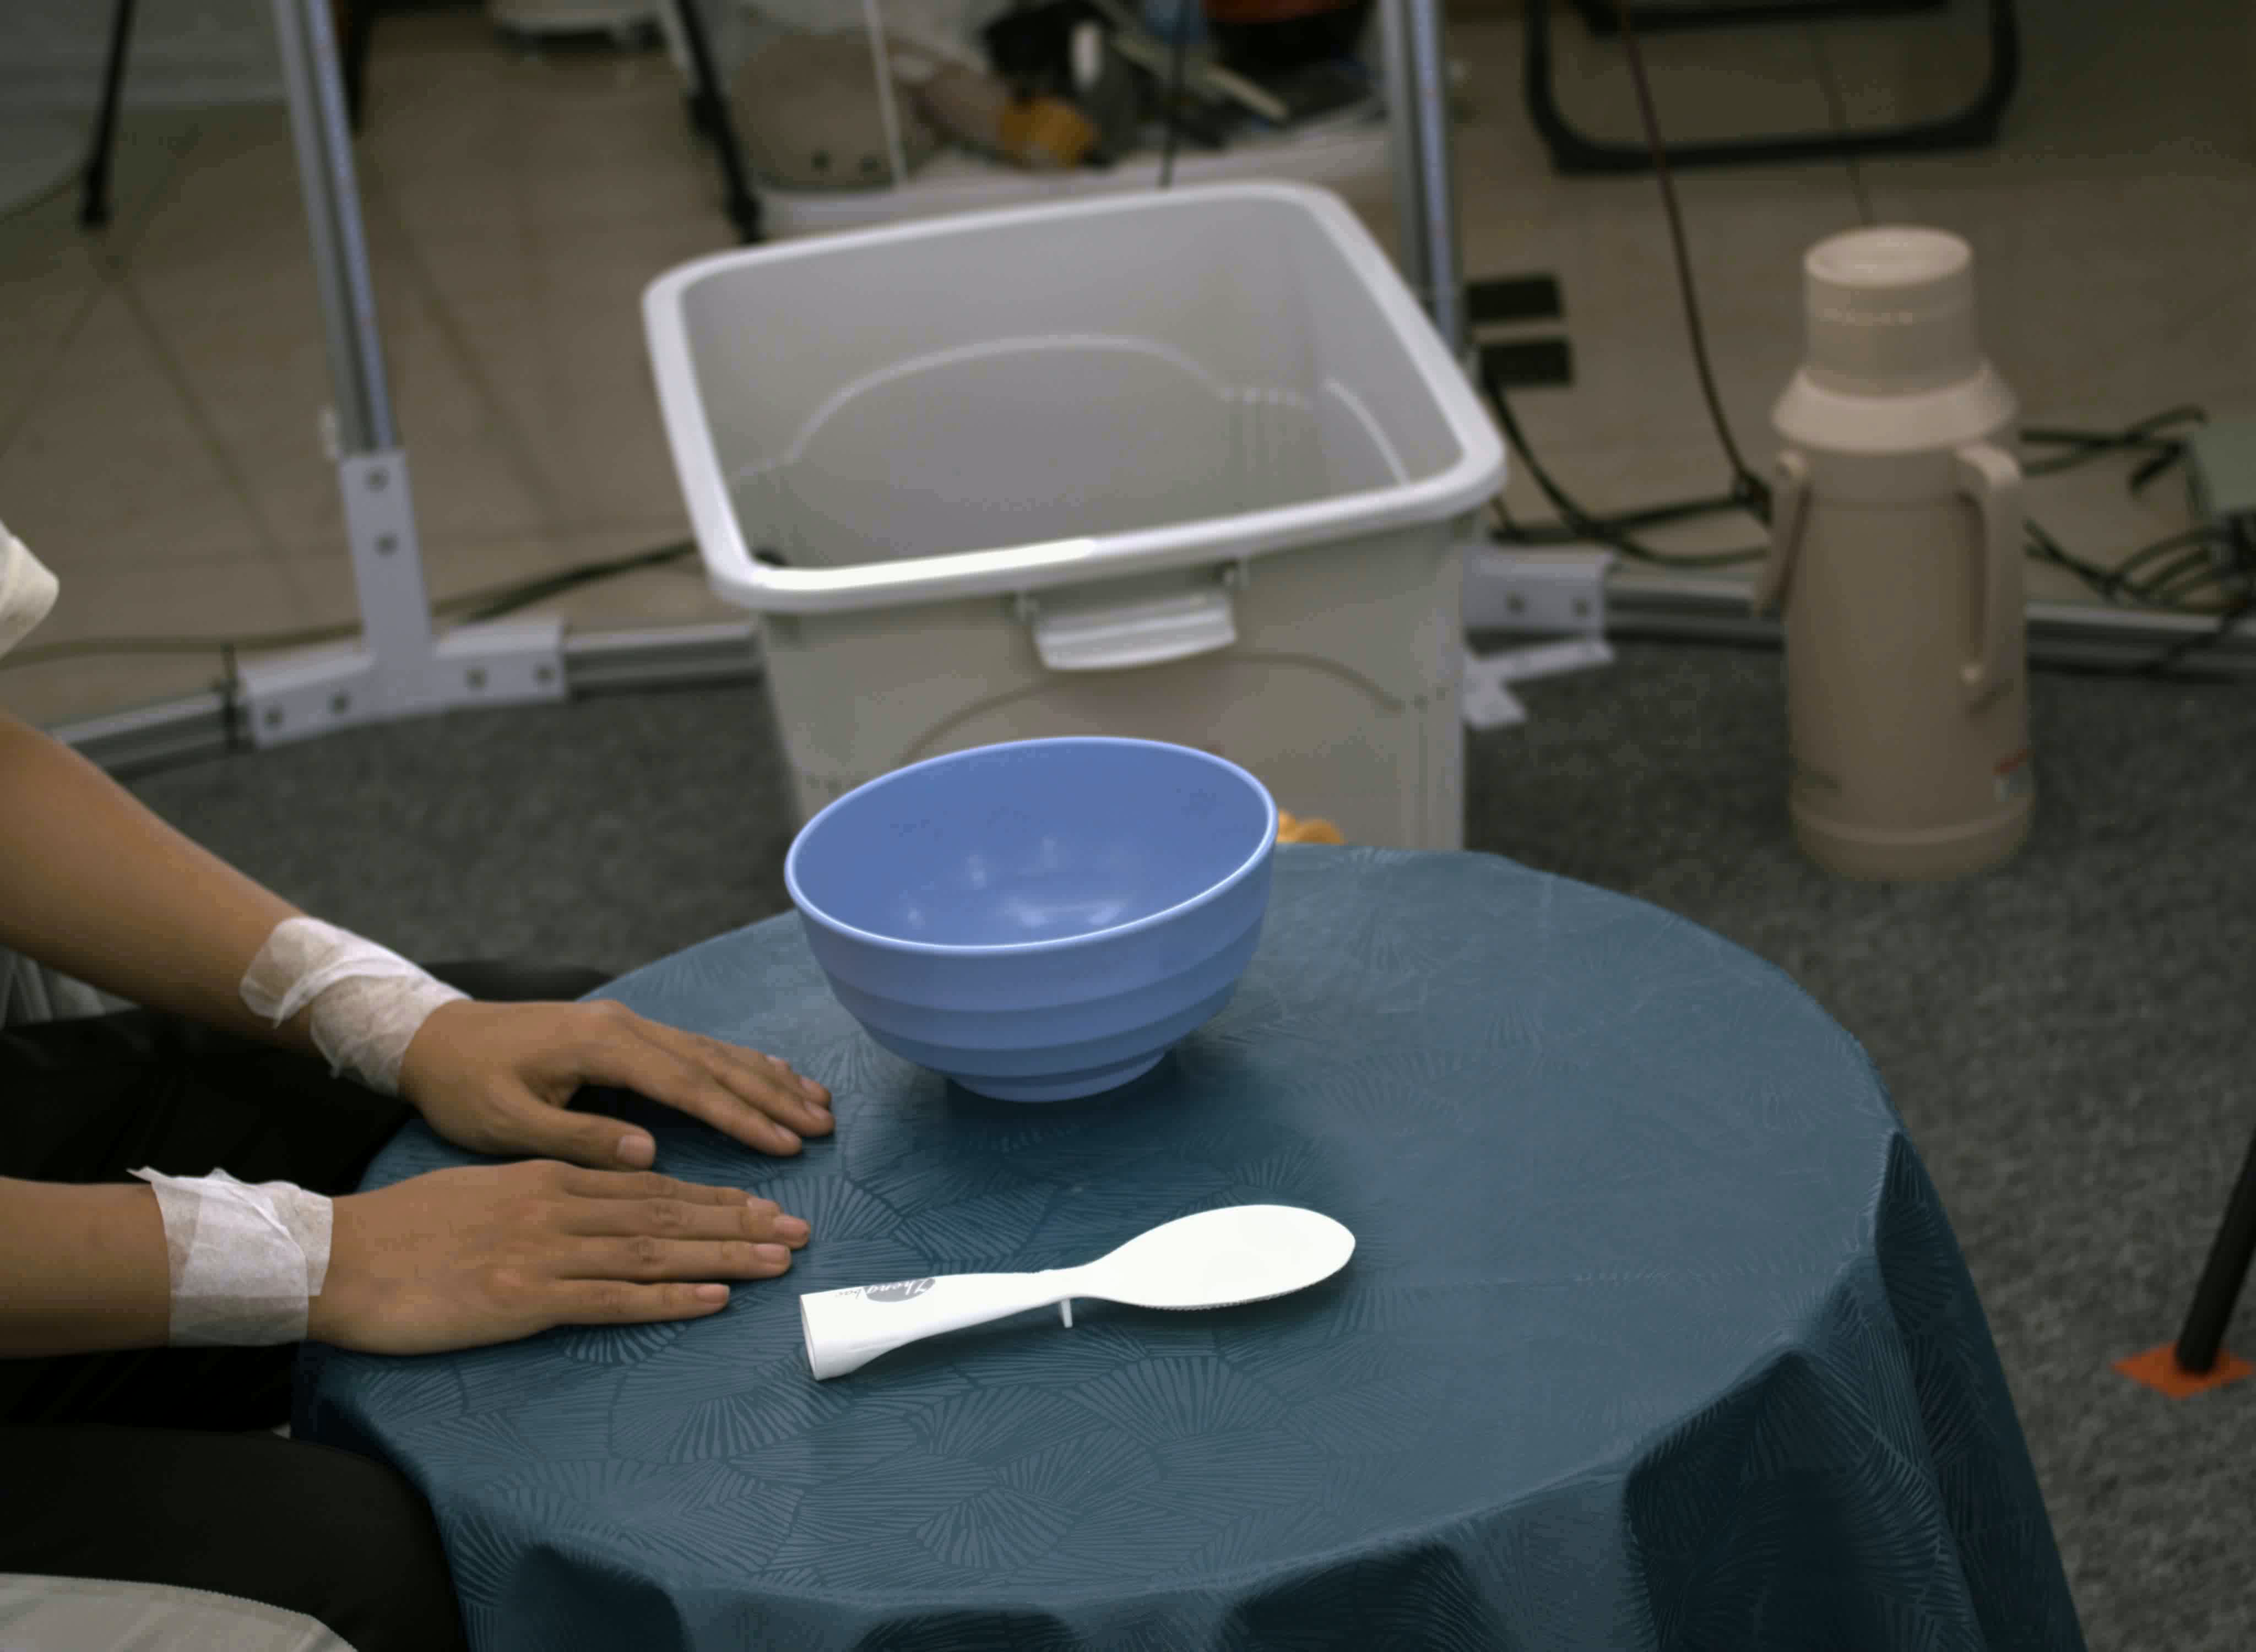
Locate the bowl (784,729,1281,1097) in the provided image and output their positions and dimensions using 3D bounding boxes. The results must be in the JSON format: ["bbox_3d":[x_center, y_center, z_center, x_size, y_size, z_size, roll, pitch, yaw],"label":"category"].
[{"bbox_3d":[-0.034,0.045,2.244,0.196,0.097,0.193,-4,26,2],"label":"bowl"}]

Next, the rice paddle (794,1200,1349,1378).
[{"bbox_3d":[-0.019,0.165,2.063,0.205,0.030,0.068,-10,27,-8],"label":"rice paddle"}]
